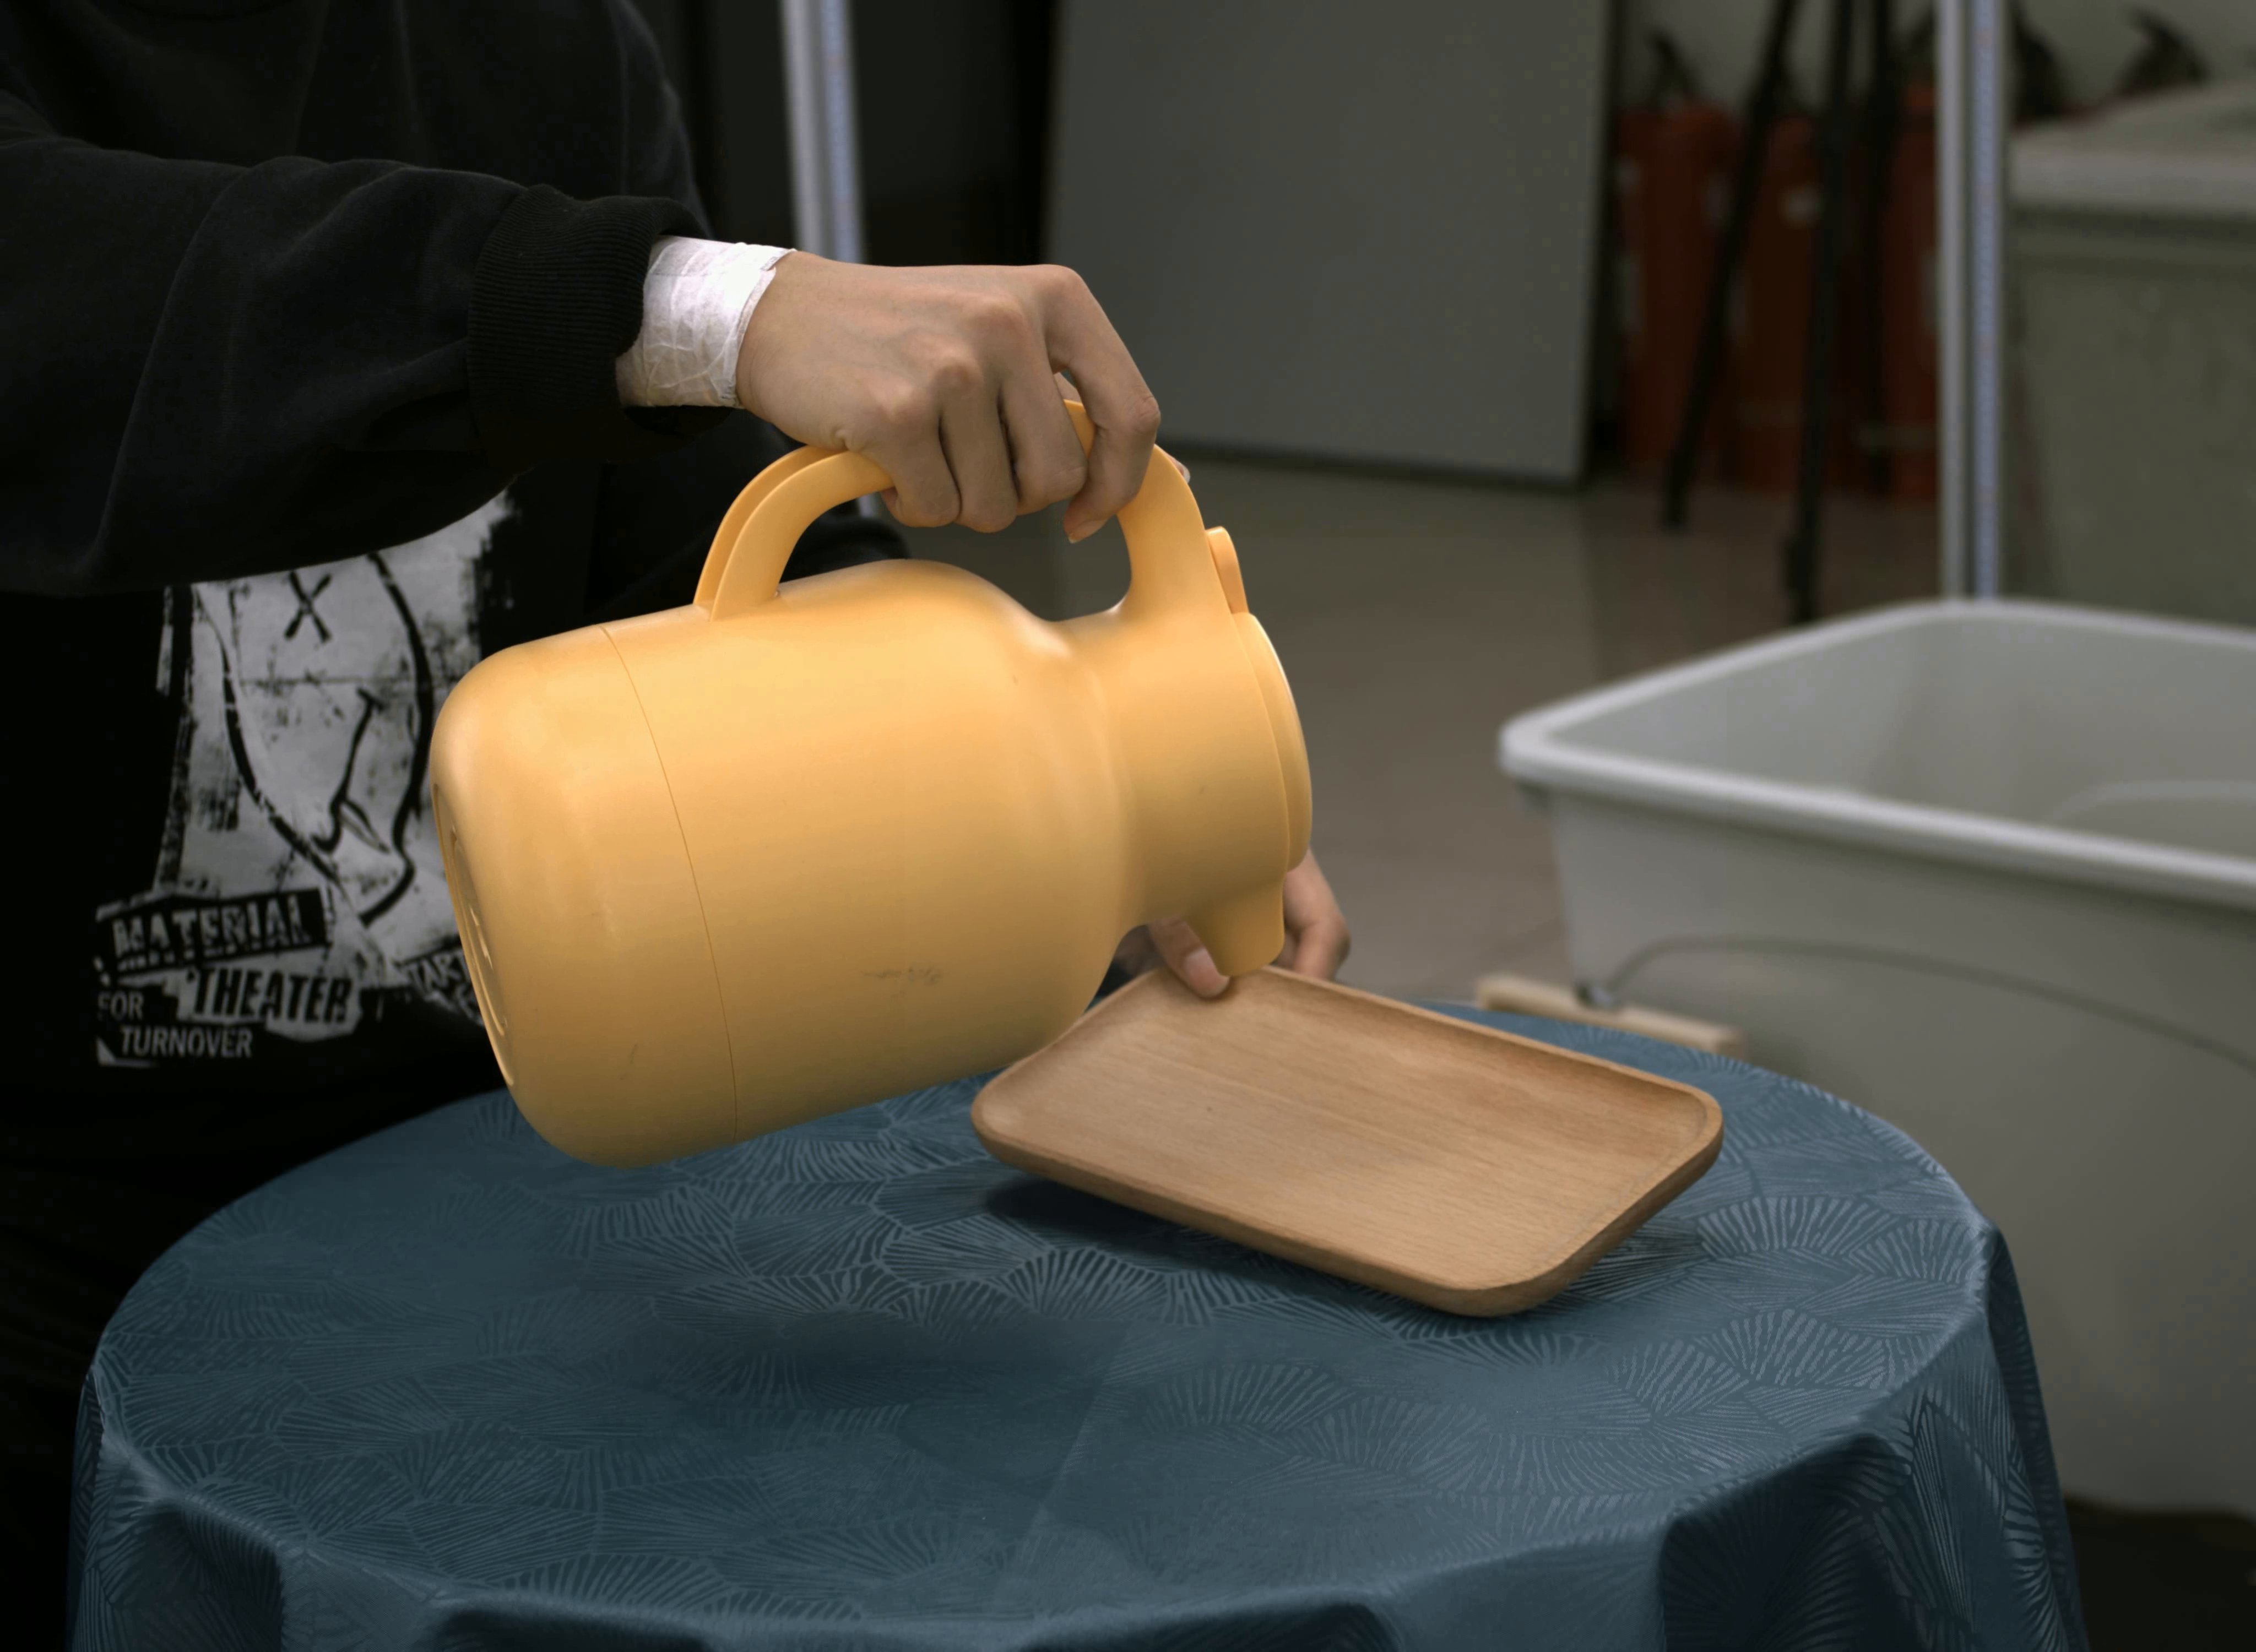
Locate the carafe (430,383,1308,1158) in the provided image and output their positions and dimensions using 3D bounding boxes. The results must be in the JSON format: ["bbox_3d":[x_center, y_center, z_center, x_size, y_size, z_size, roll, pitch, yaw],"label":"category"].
[{"bbox_3d":[-0.079,-0.021,1.636,0.256,0.204,0.164,-13,13,-13],"label":"carafe"}]

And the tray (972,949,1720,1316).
[{"bbox_3d":[0.068,0.096,1.732,0.128,0.023,0.253,-31,30,-35],"label":"tray"}]
